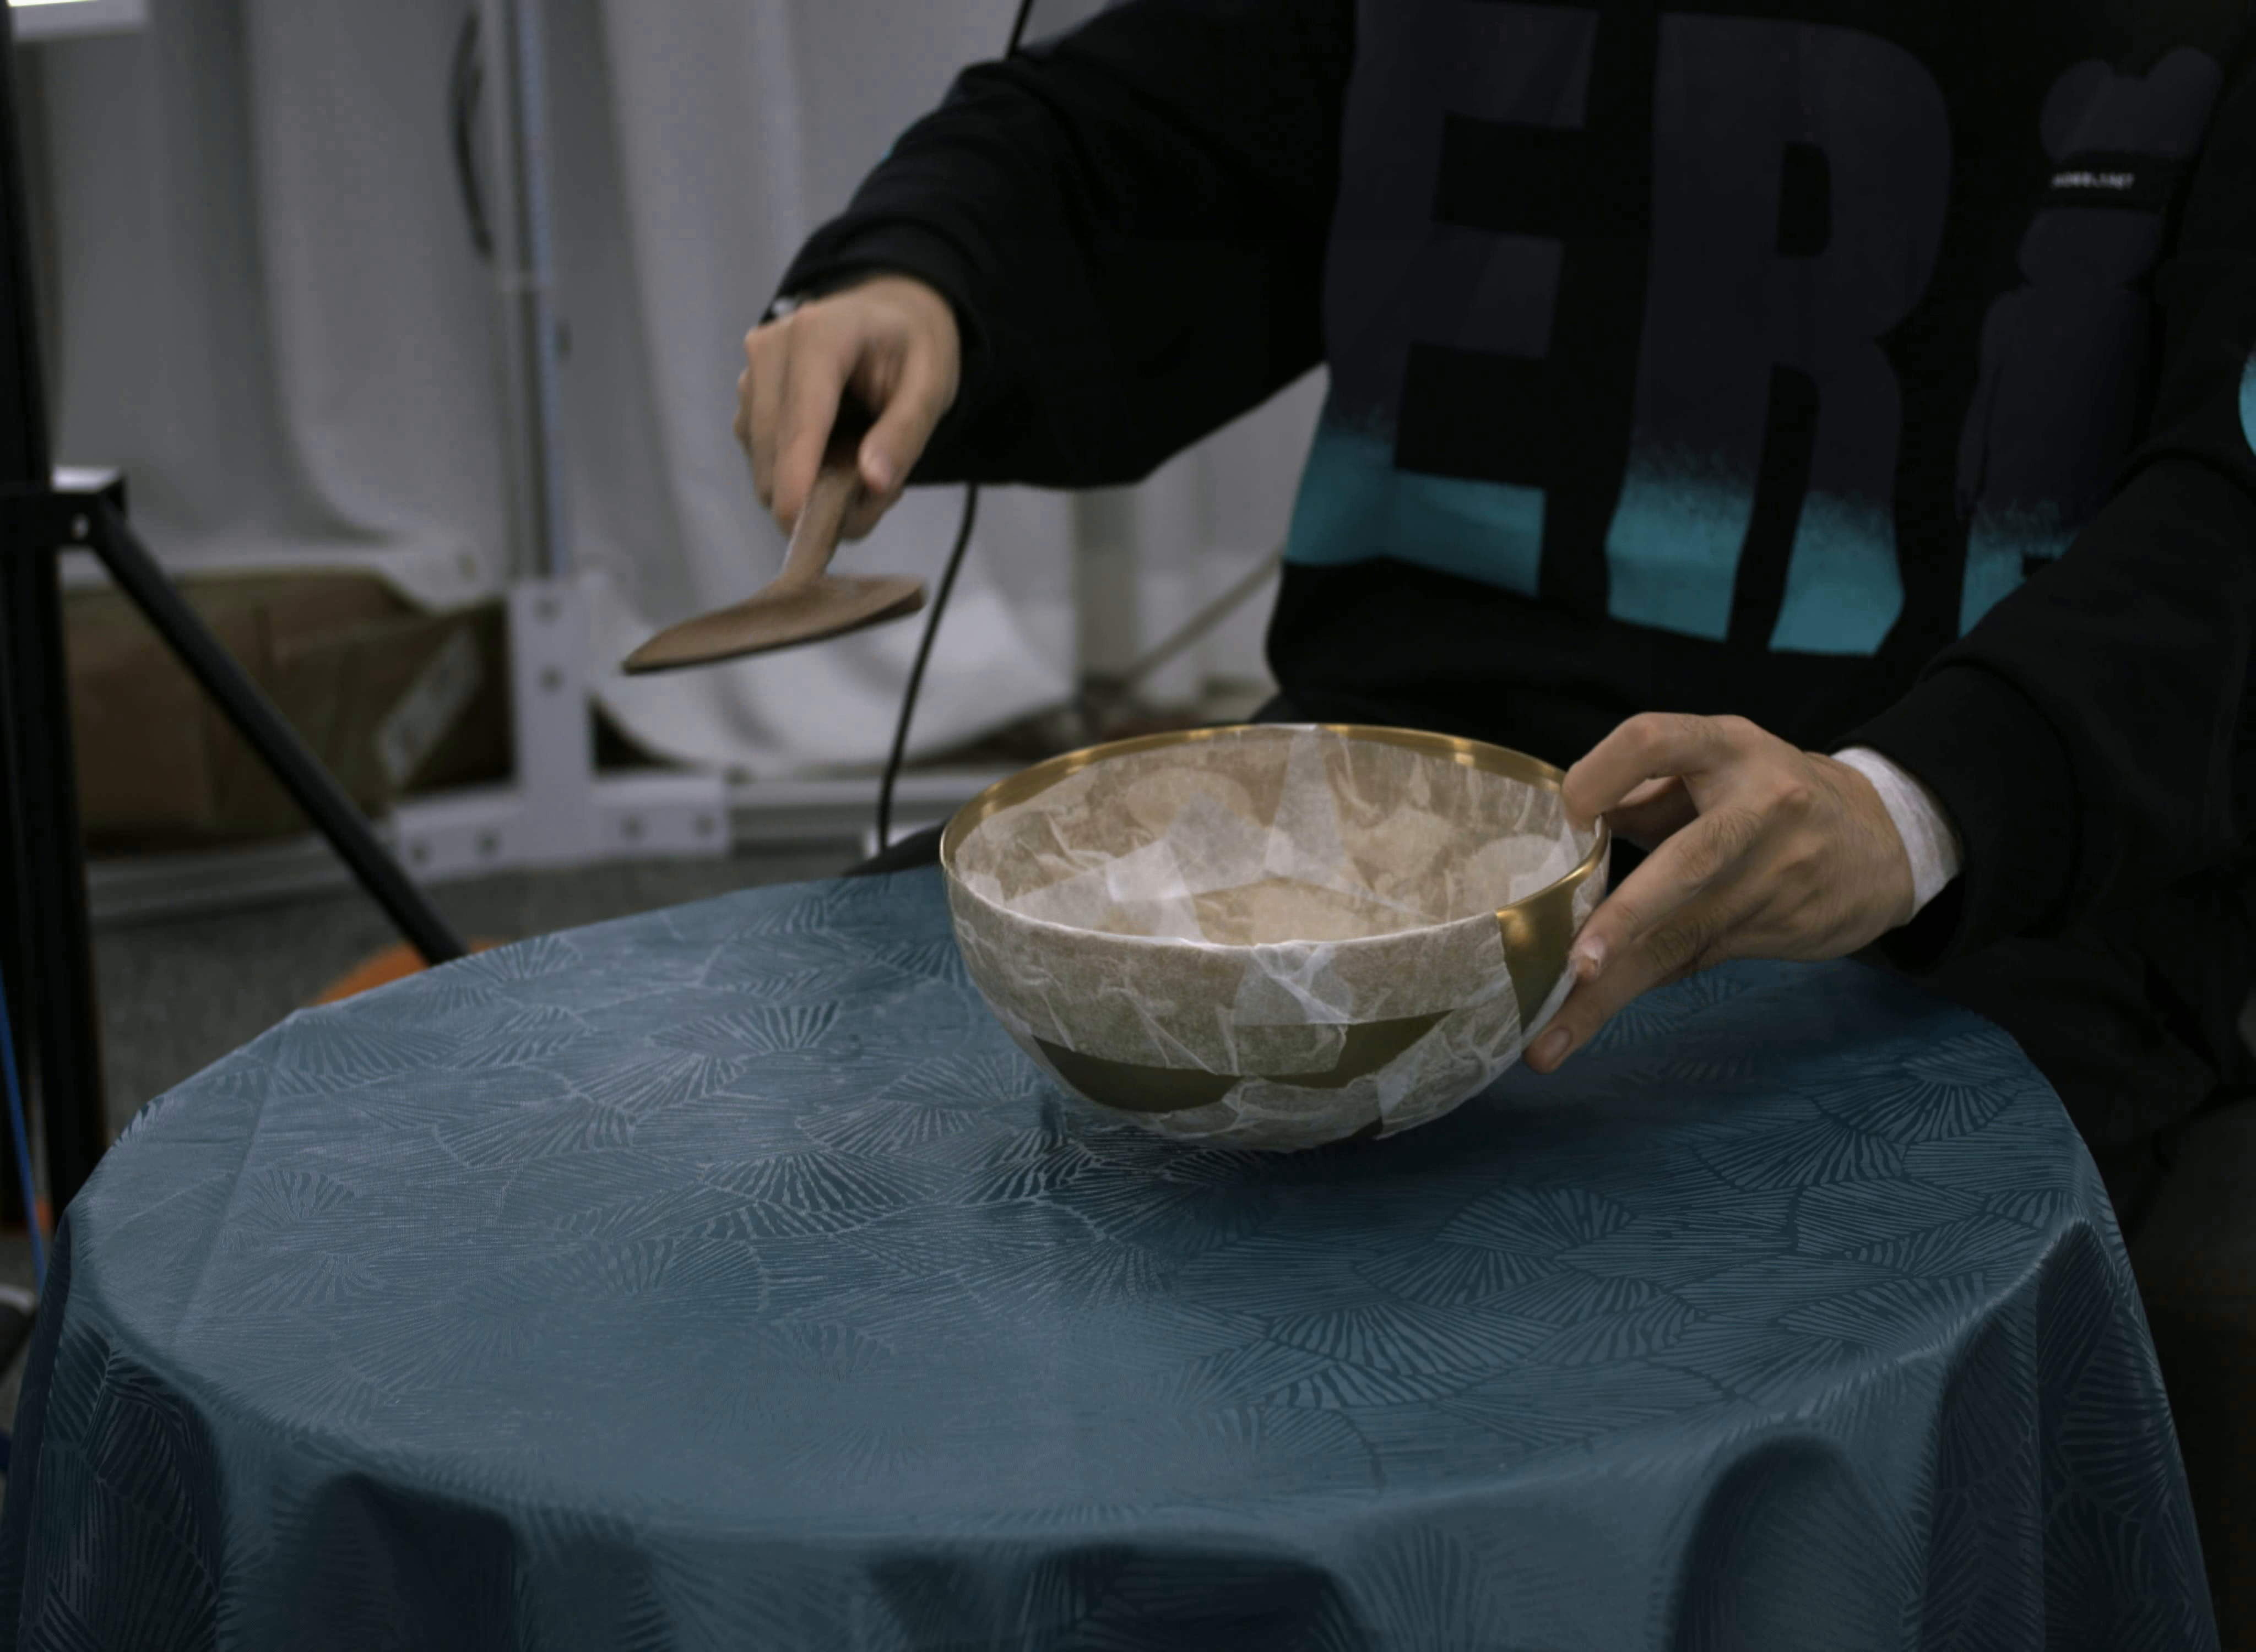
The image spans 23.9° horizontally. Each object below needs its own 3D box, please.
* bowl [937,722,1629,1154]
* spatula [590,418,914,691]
[{"bbox_3d":[0.048,0.043,1.591,0.214,0.094,0.216,-4,17,0],"label":"bowl"},{"bbox_3d":[-0.102,-0.092,1.721,0.096,0.016,0.386,-12,14,6],"label":"spatula"}]
